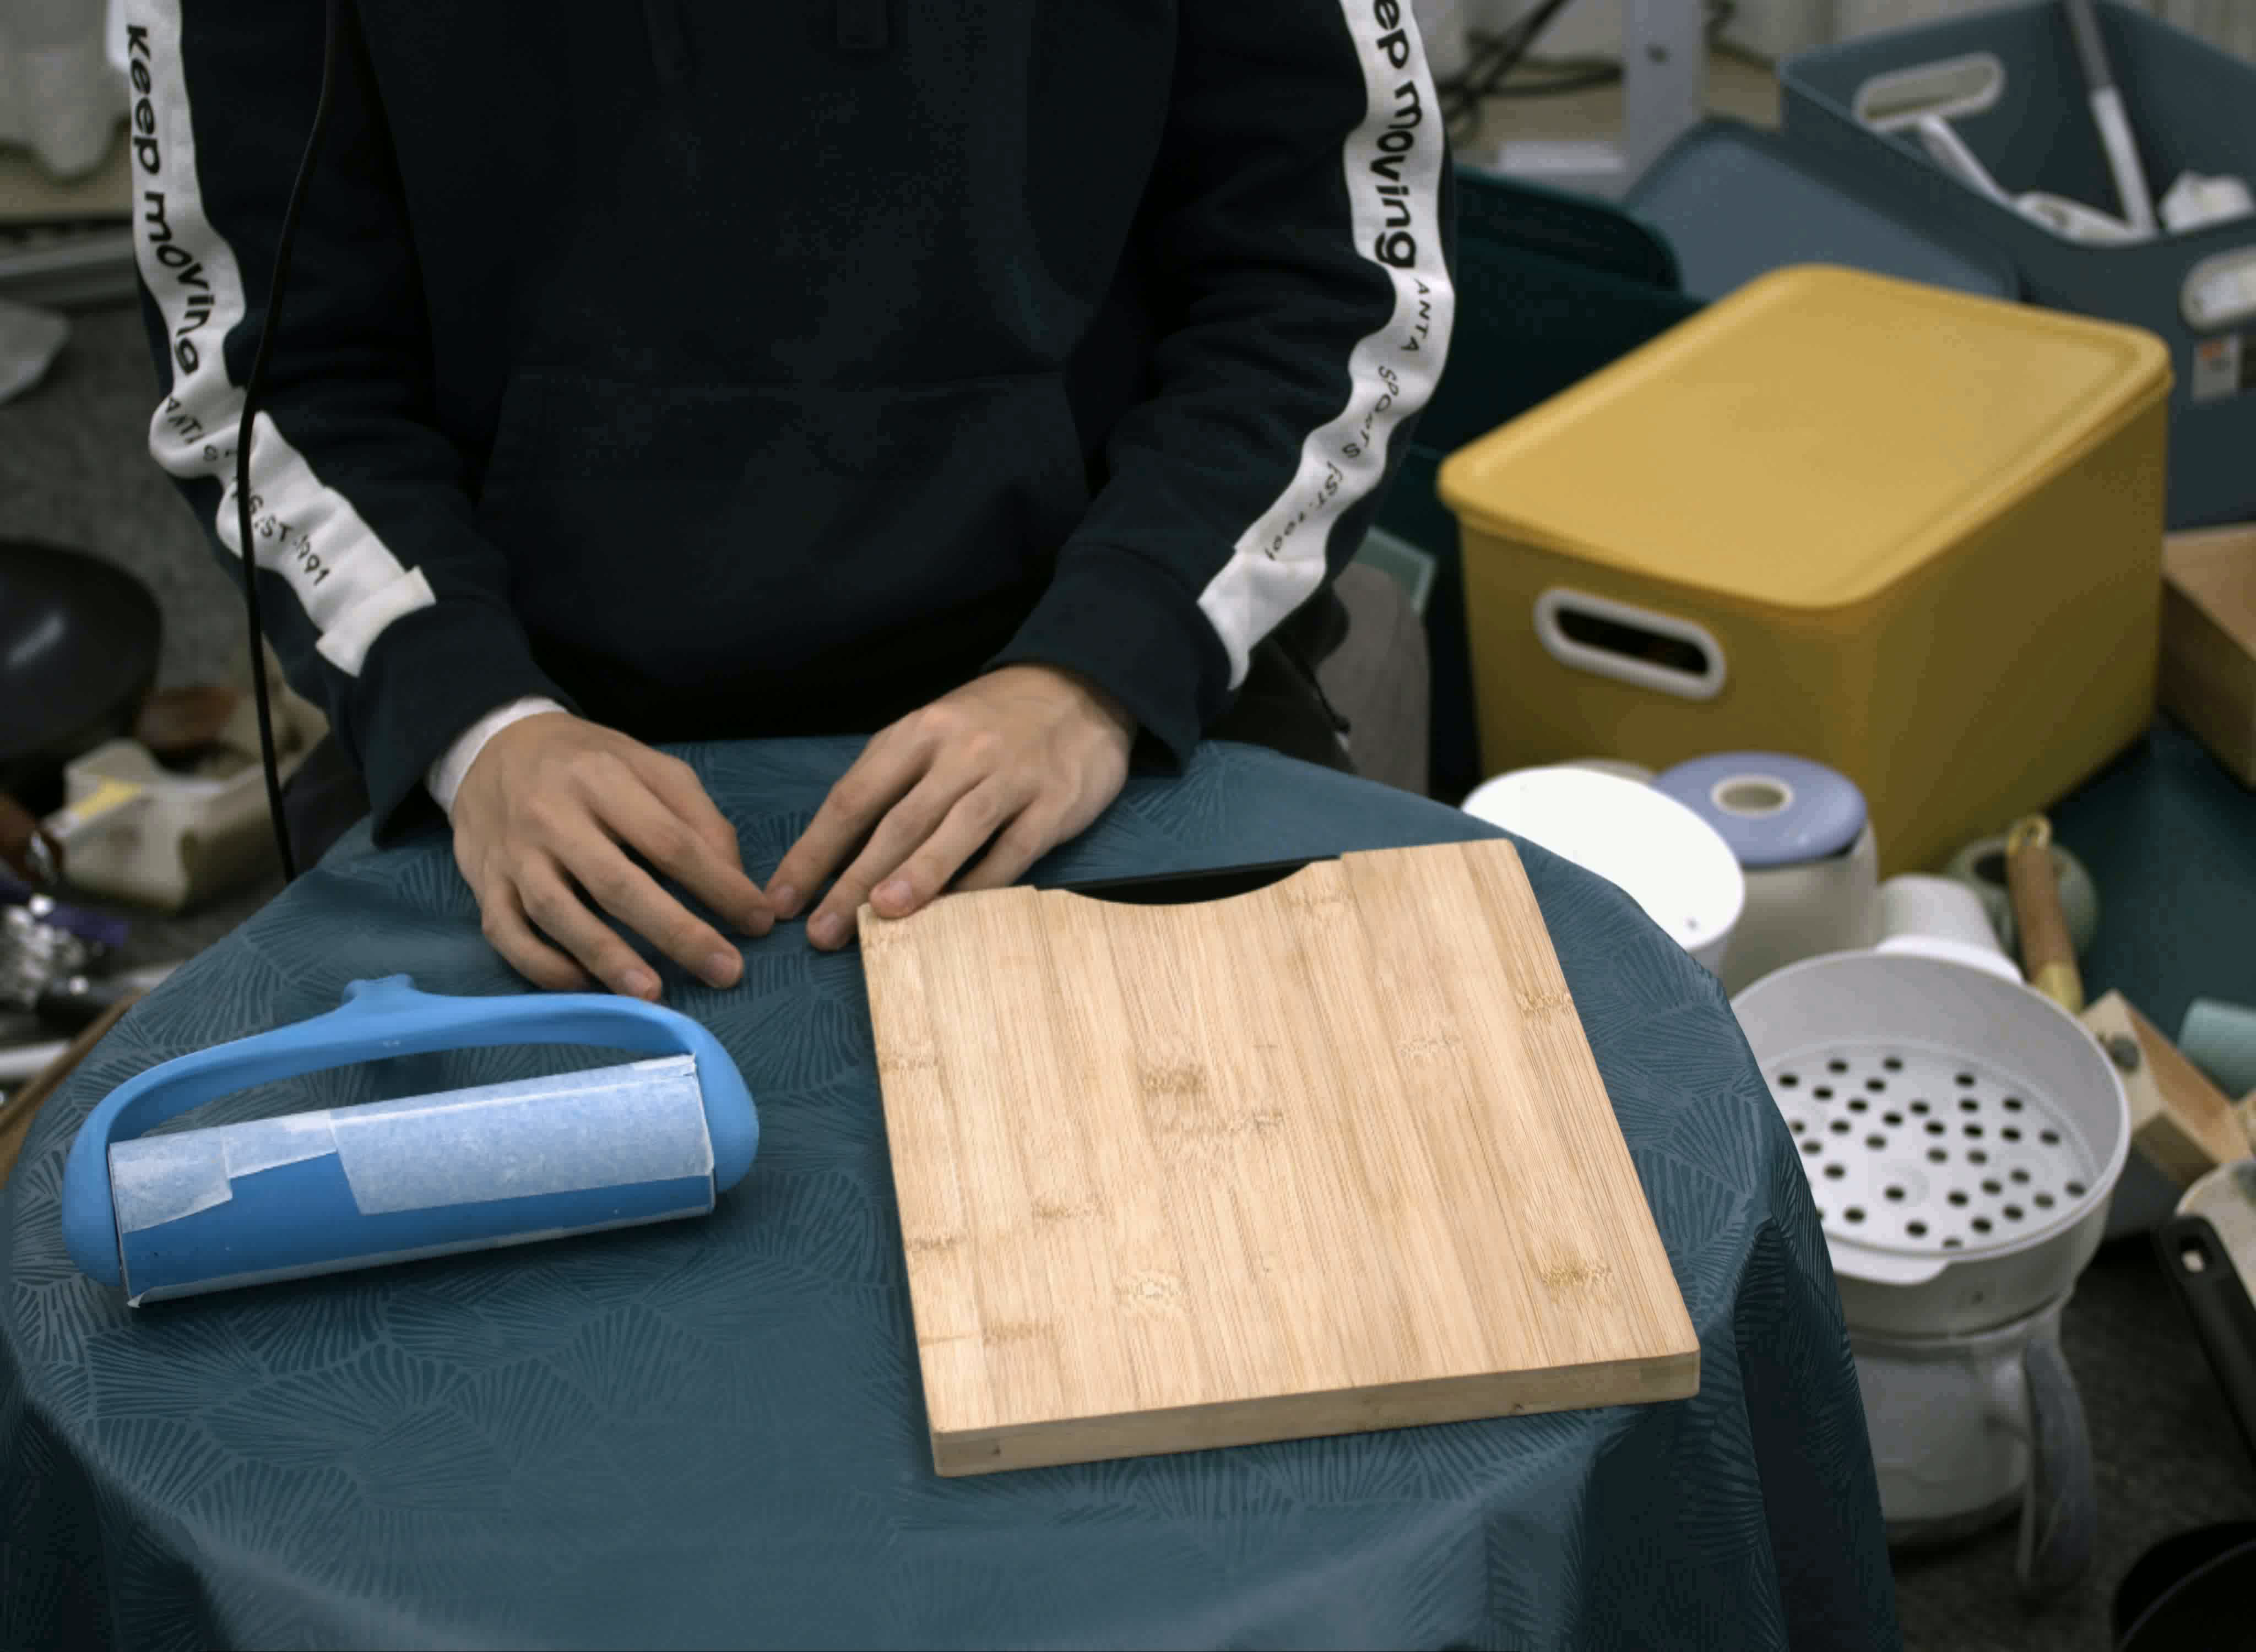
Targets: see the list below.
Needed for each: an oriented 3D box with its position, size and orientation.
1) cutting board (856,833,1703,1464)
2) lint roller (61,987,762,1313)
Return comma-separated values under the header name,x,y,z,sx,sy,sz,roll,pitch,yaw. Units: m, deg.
name,x,y,z,sx,sy,sz,roll,pitch,yaw
cutting board,0.040,0.102,1.877,0.250,0.023,0.353,-6,28,-6
lint roller,-0.248,0.089,1.885,0.229,0.067,0.182,-11,29,-12
